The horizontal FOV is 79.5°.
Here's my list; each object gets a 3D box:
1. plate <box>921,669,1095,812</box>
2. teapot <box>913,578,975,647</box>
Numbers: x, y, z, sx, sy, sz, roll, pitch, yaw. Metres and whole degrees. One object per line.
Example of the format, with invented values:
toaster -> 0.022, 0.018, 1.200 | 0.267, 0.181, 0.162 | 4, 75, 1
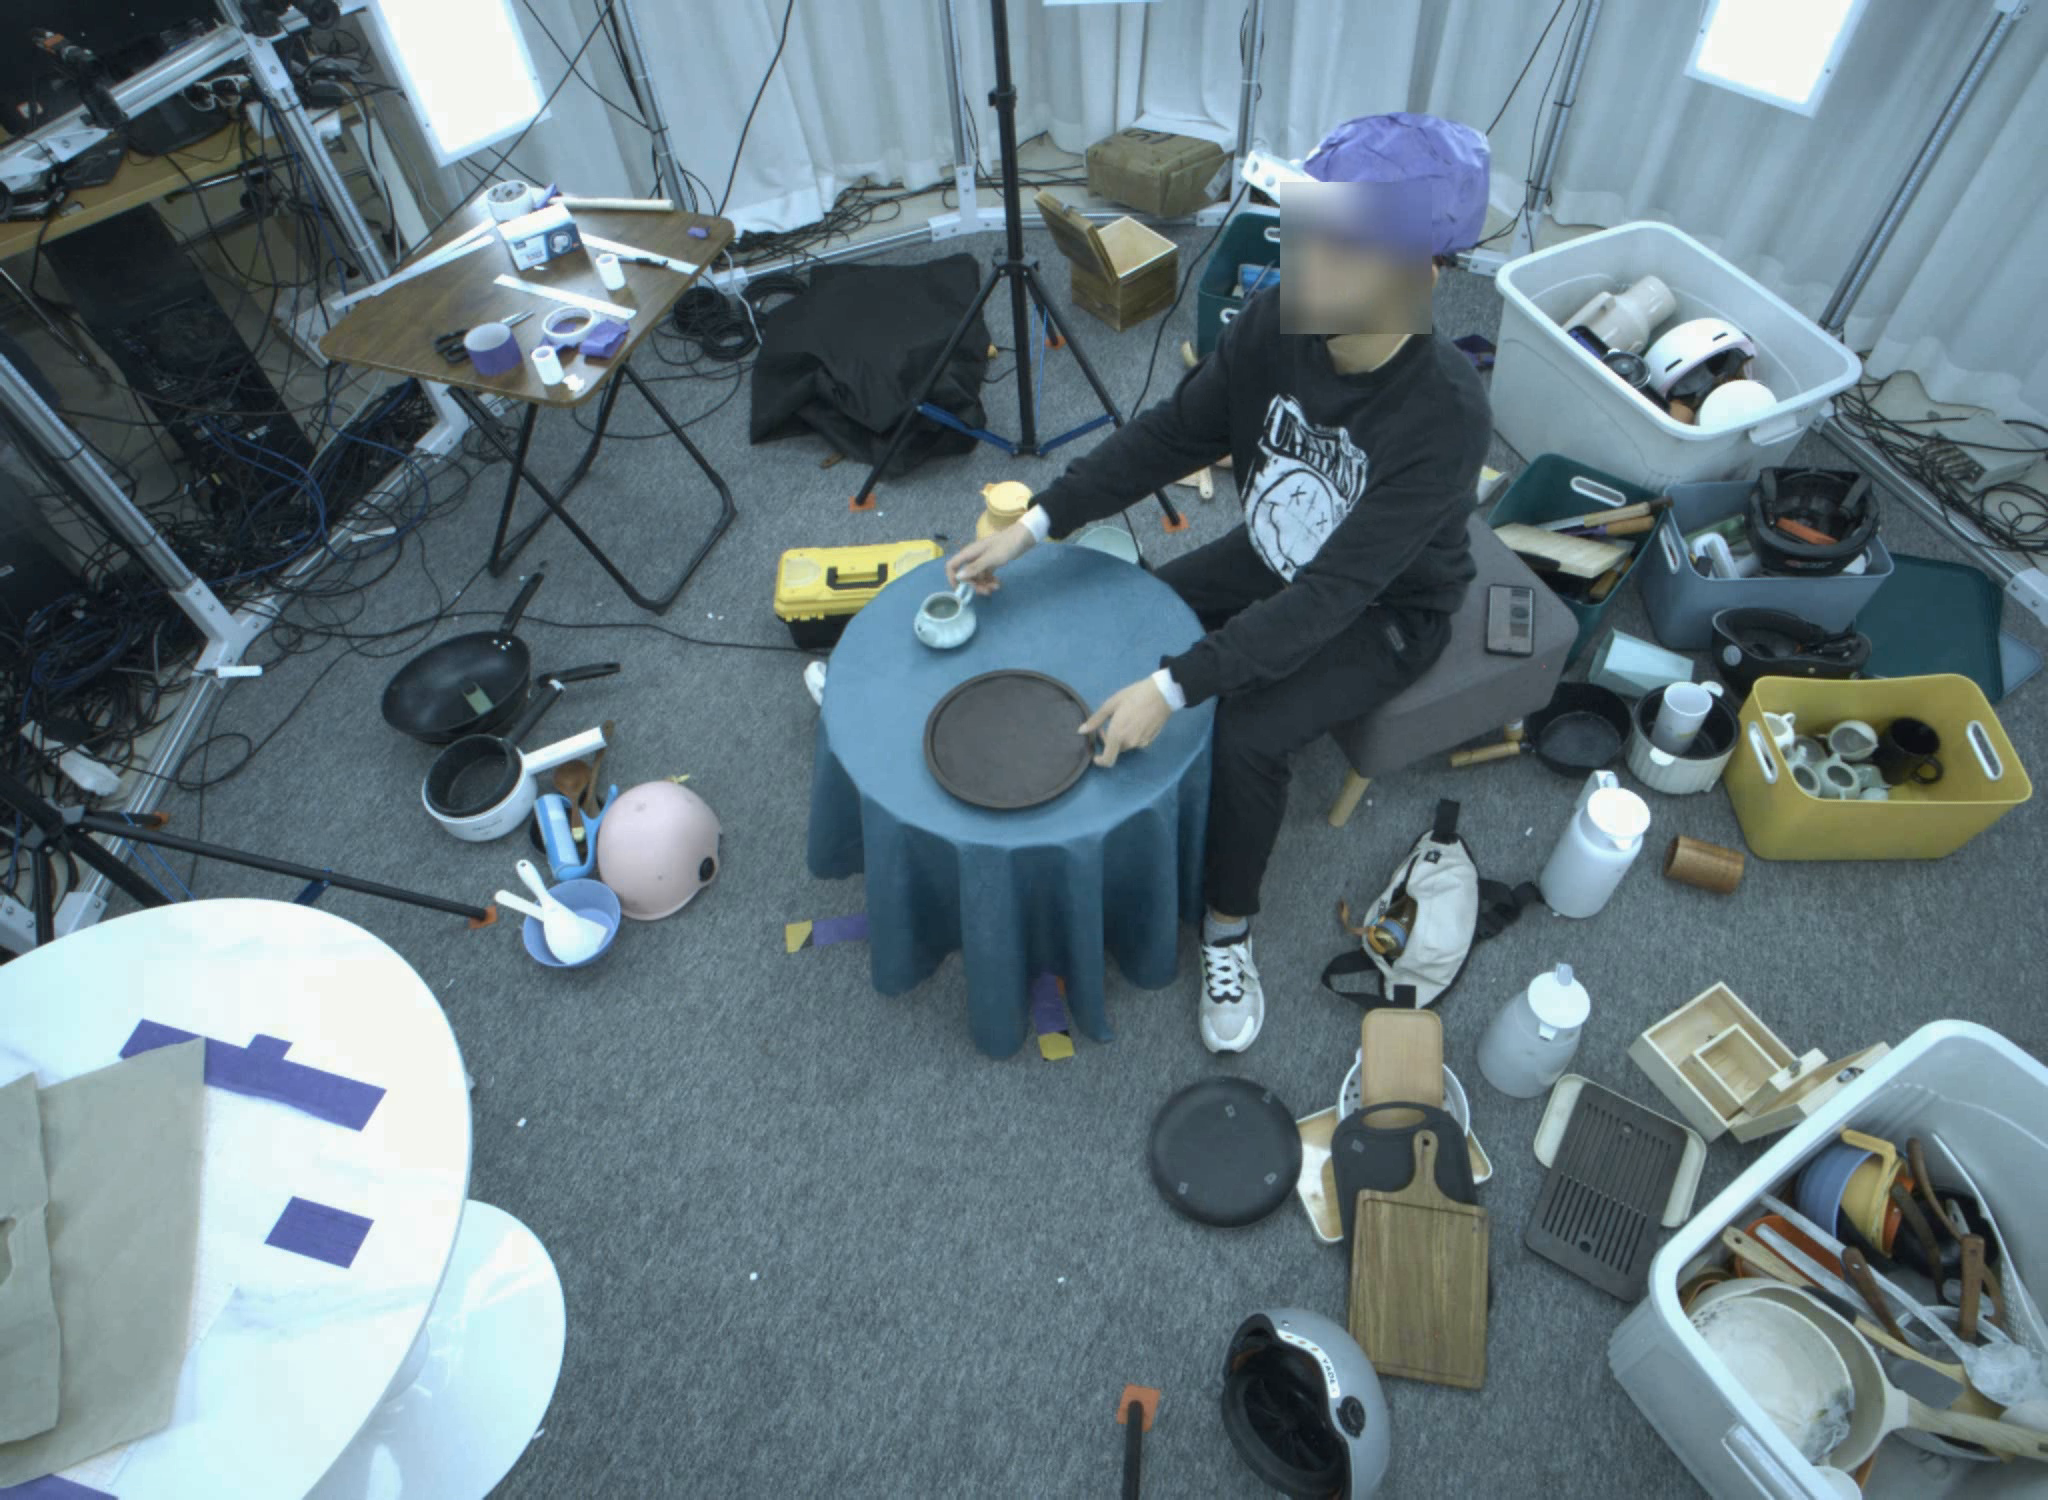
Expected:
plate -> -0.022, -0.016, 1.781 | 0.254, 0.029, 0.252 | -1, 54, 3
teapot -> -0.123, -0.209, 1.899 | 0.095, 0.062, 0.137 | 26, 60, 21
